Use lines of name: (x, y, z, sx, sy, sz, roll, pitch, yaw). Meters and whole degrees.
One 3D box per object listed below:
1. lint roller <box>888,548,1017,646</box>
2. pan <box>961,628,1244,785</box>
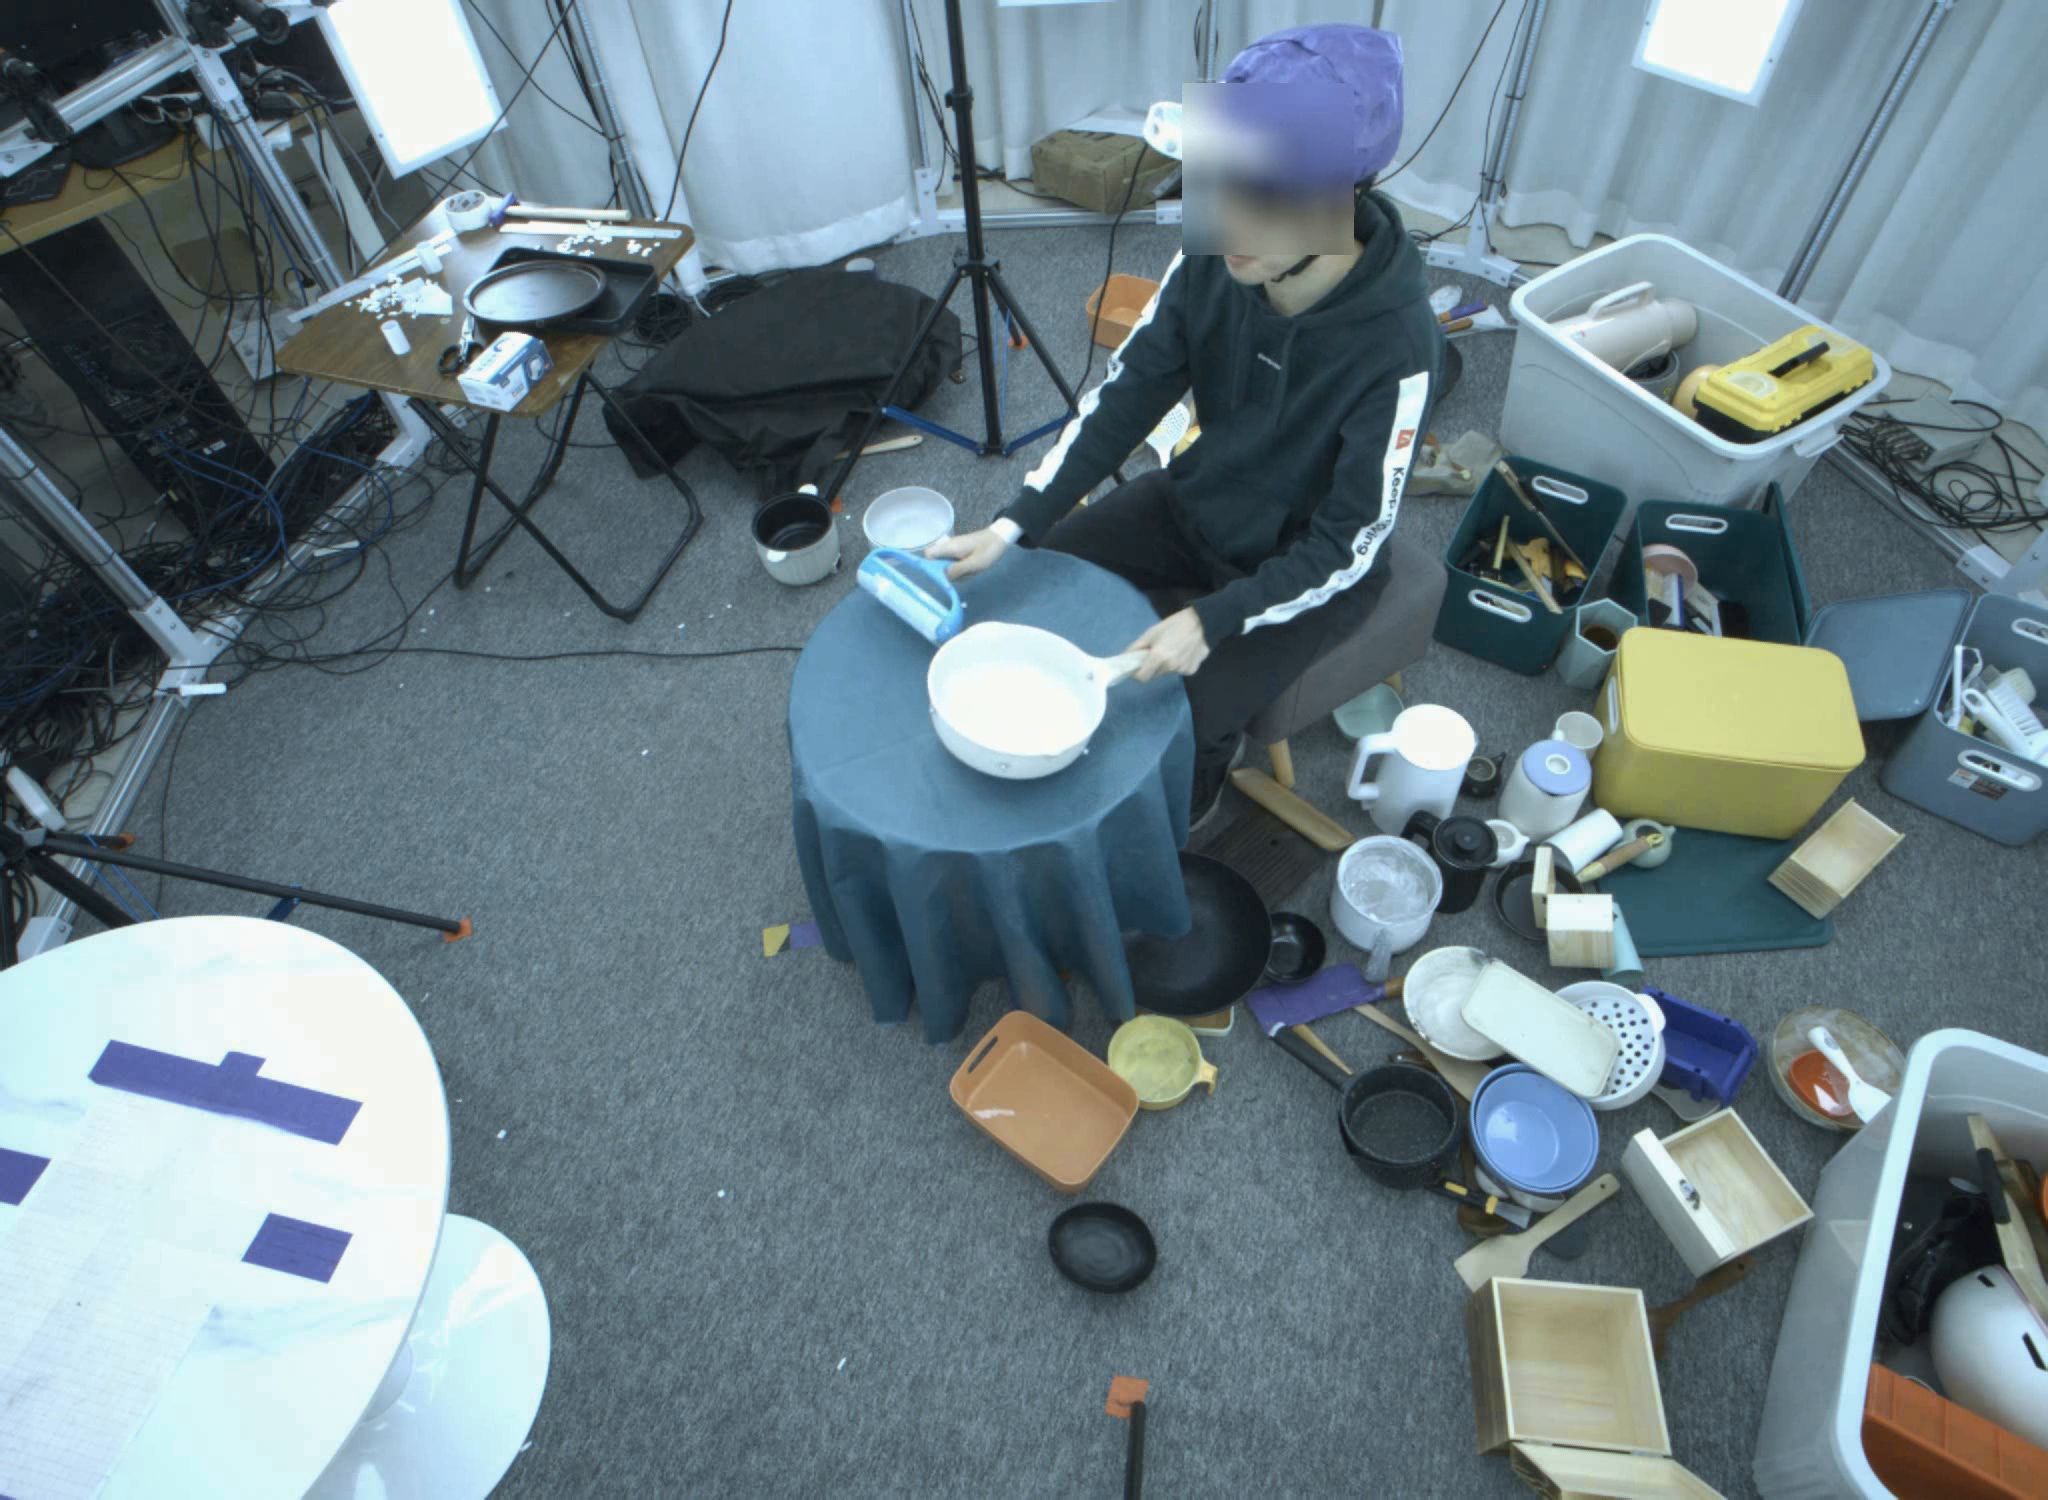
lint roller: (-0.087, -0.261, 1.886, 0.182, 0.069, 0.224, -37, 55, -24)
pan: (0.117, -0.077, 1.758, 0.441, 0.102, 0.258, -12, 53, -23)
